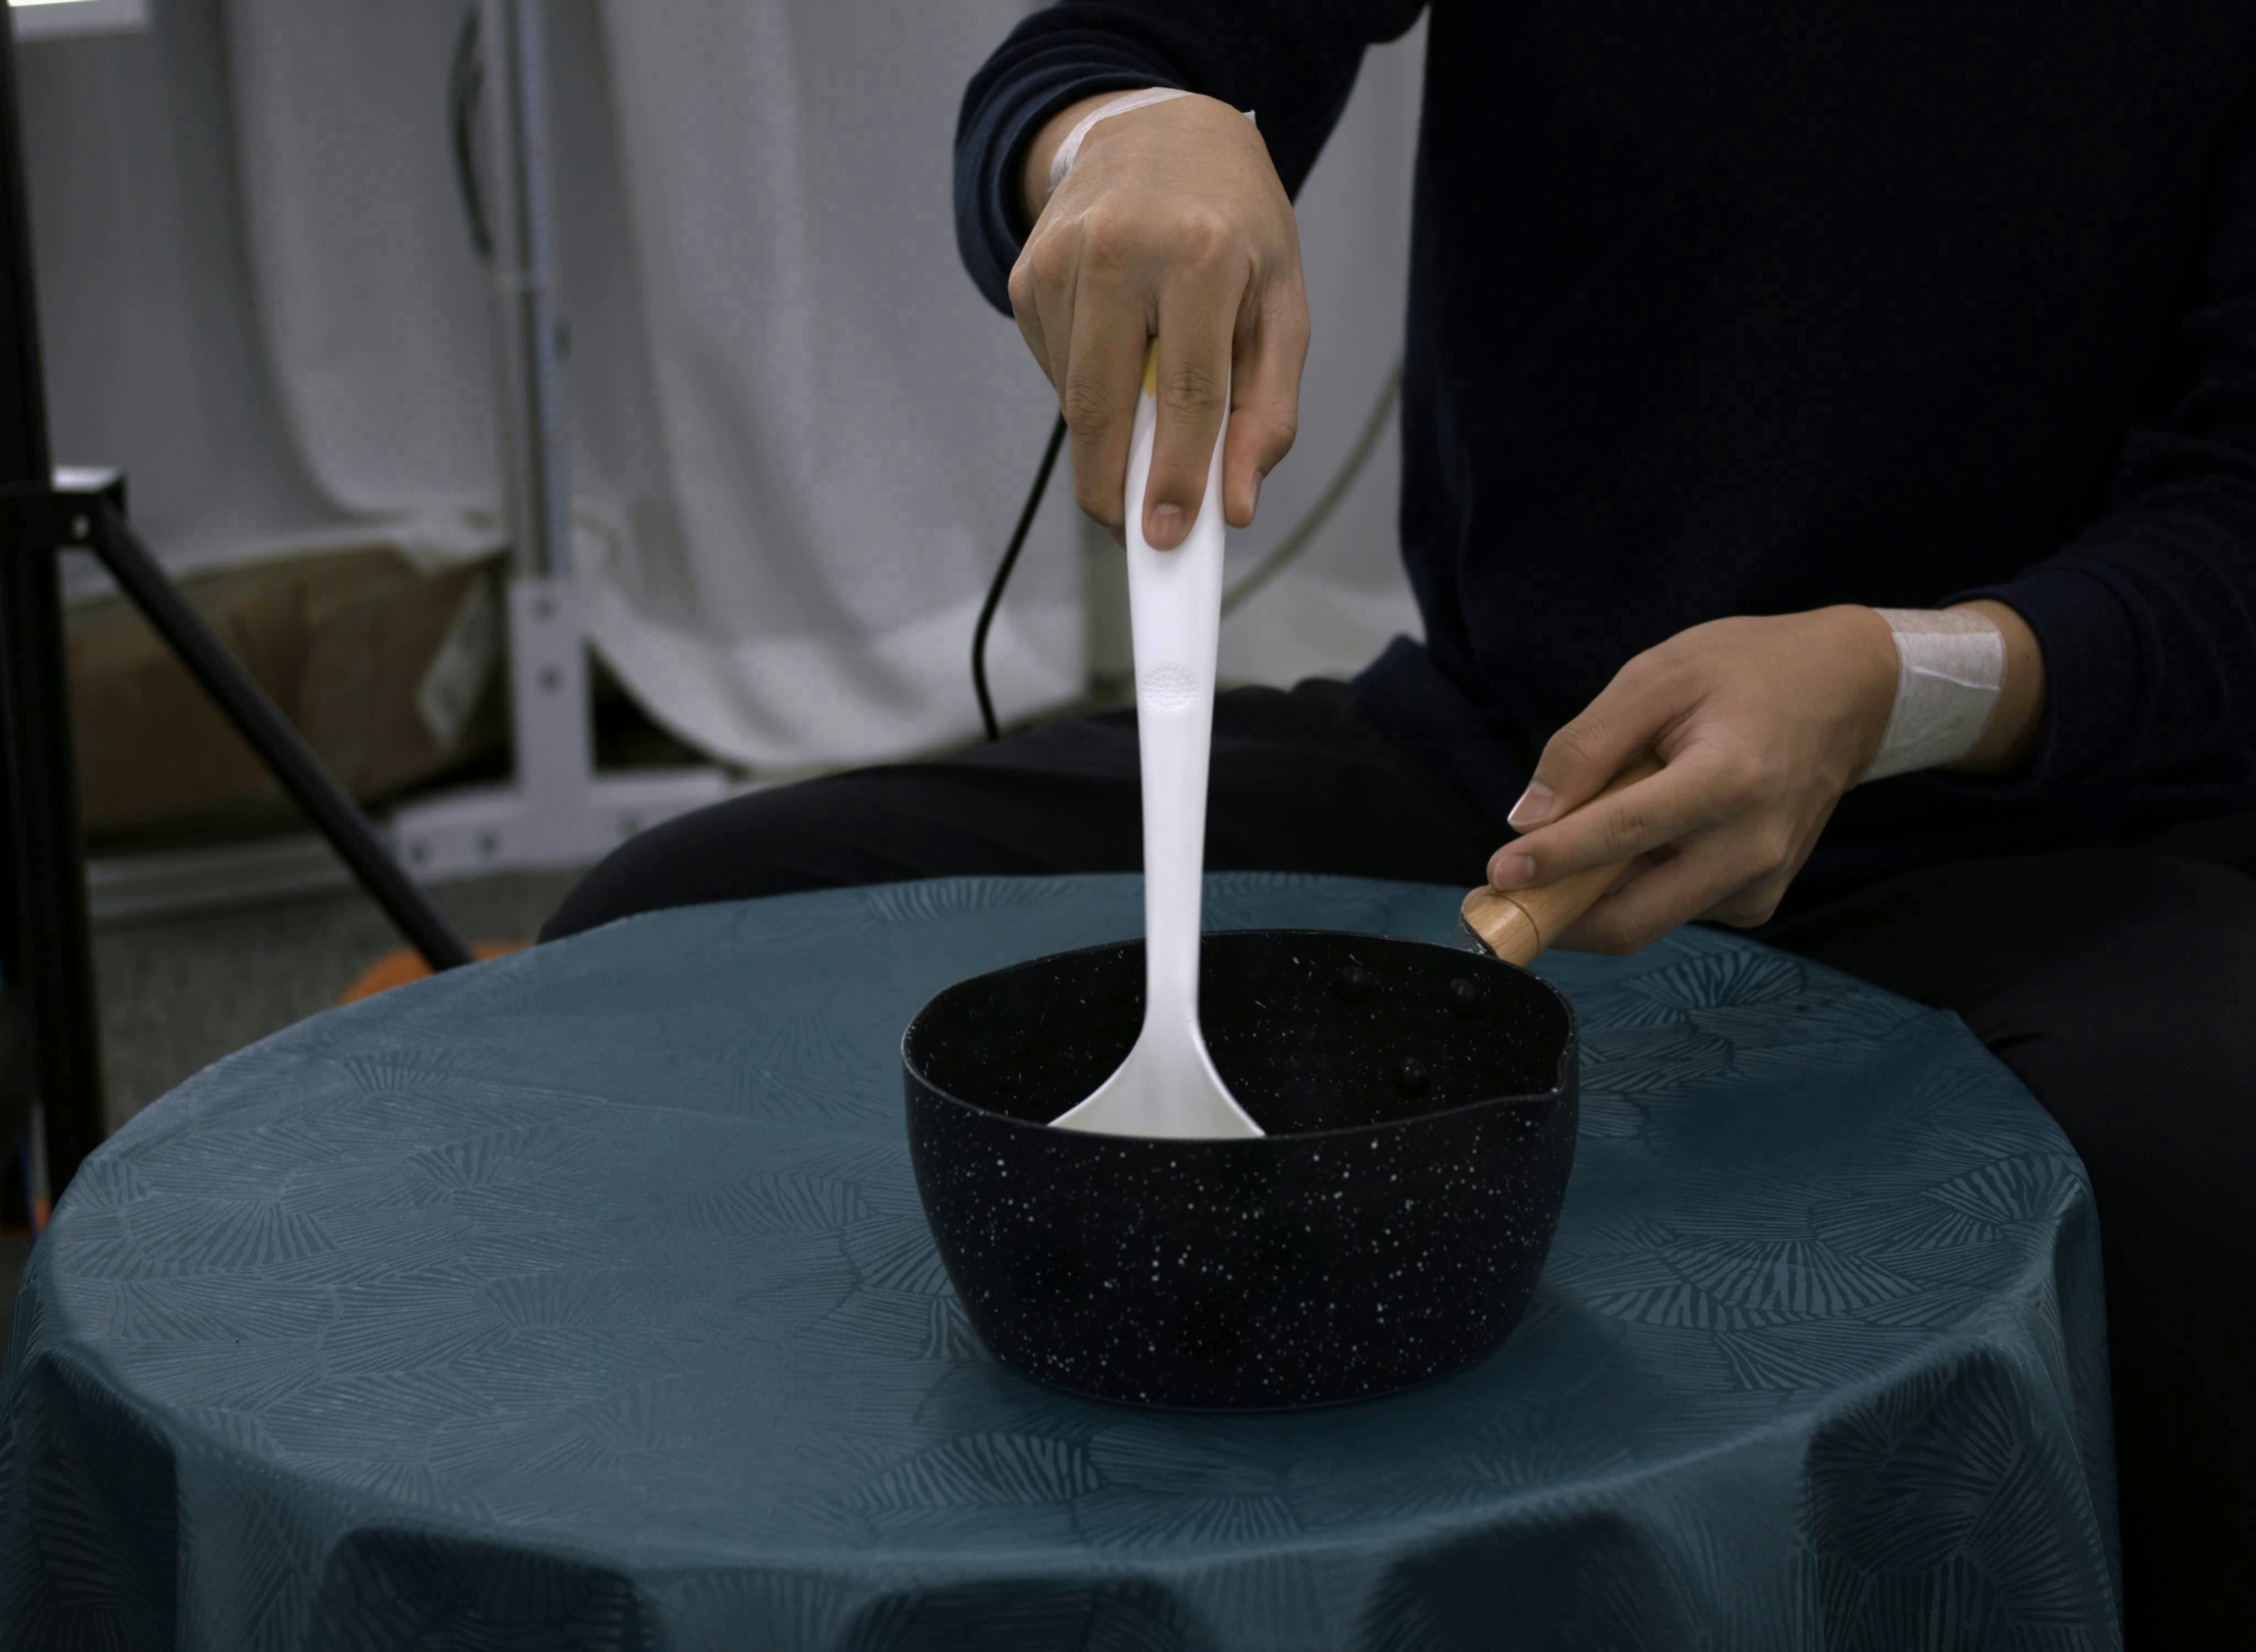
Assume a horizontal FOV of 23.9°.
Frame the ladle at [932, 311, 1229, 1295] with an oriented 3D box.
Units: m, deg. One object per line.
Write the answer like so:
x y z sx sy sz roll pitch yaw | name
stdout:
-0.002 -0.006 1.491 0.091 0.295 0.068 -3 -14 26 | ladle

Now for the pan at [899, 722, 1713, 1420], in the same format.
0.075 0.064 1.503 0.211 0.108 0.336 7 20 34 | pan
